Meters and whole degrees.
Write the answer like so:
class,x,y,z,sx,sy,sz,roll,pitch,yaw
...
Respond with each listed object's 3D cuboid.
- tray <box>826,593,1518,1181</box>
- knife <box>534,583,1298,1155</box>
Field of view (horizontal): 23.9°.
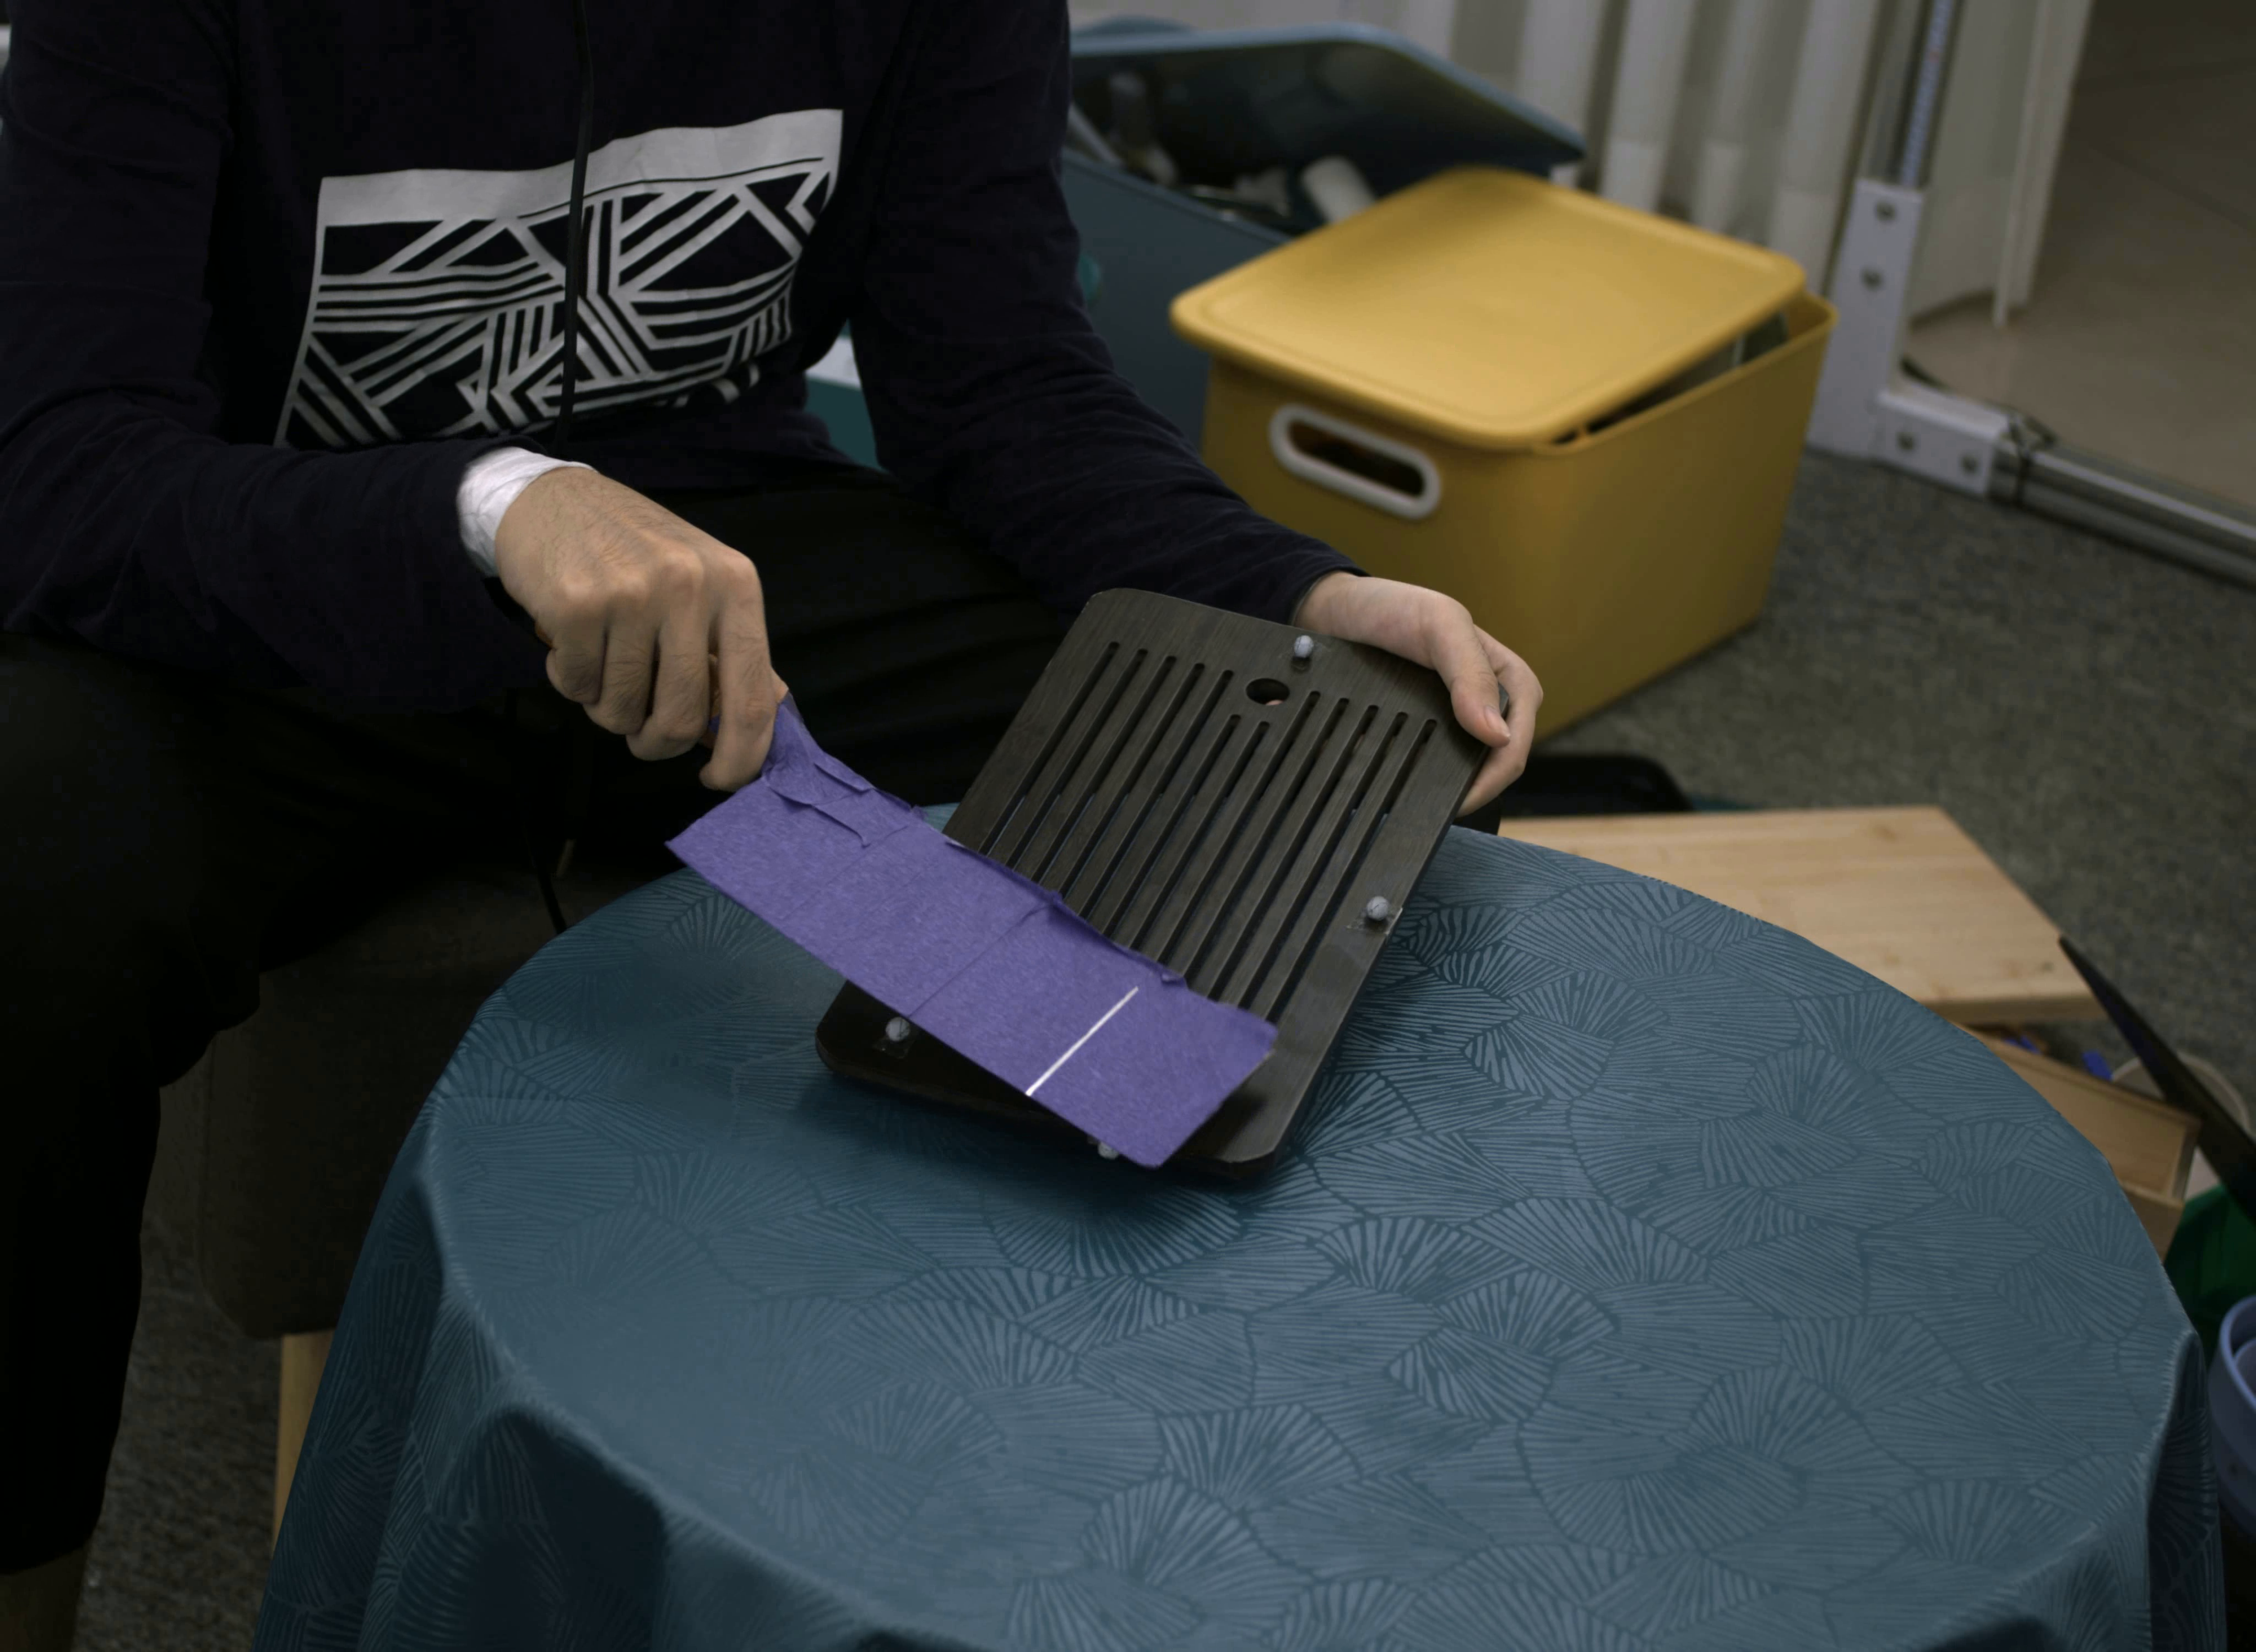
class,x,y,z,sx,sy,sz,roll,pitch,yaw
tray,0.021,0.018,1.939,0.170,0.018,0.307,13,39,15
knife,-0.091,0.013,1.844,0.316,0.032,0.104,31,36,17
